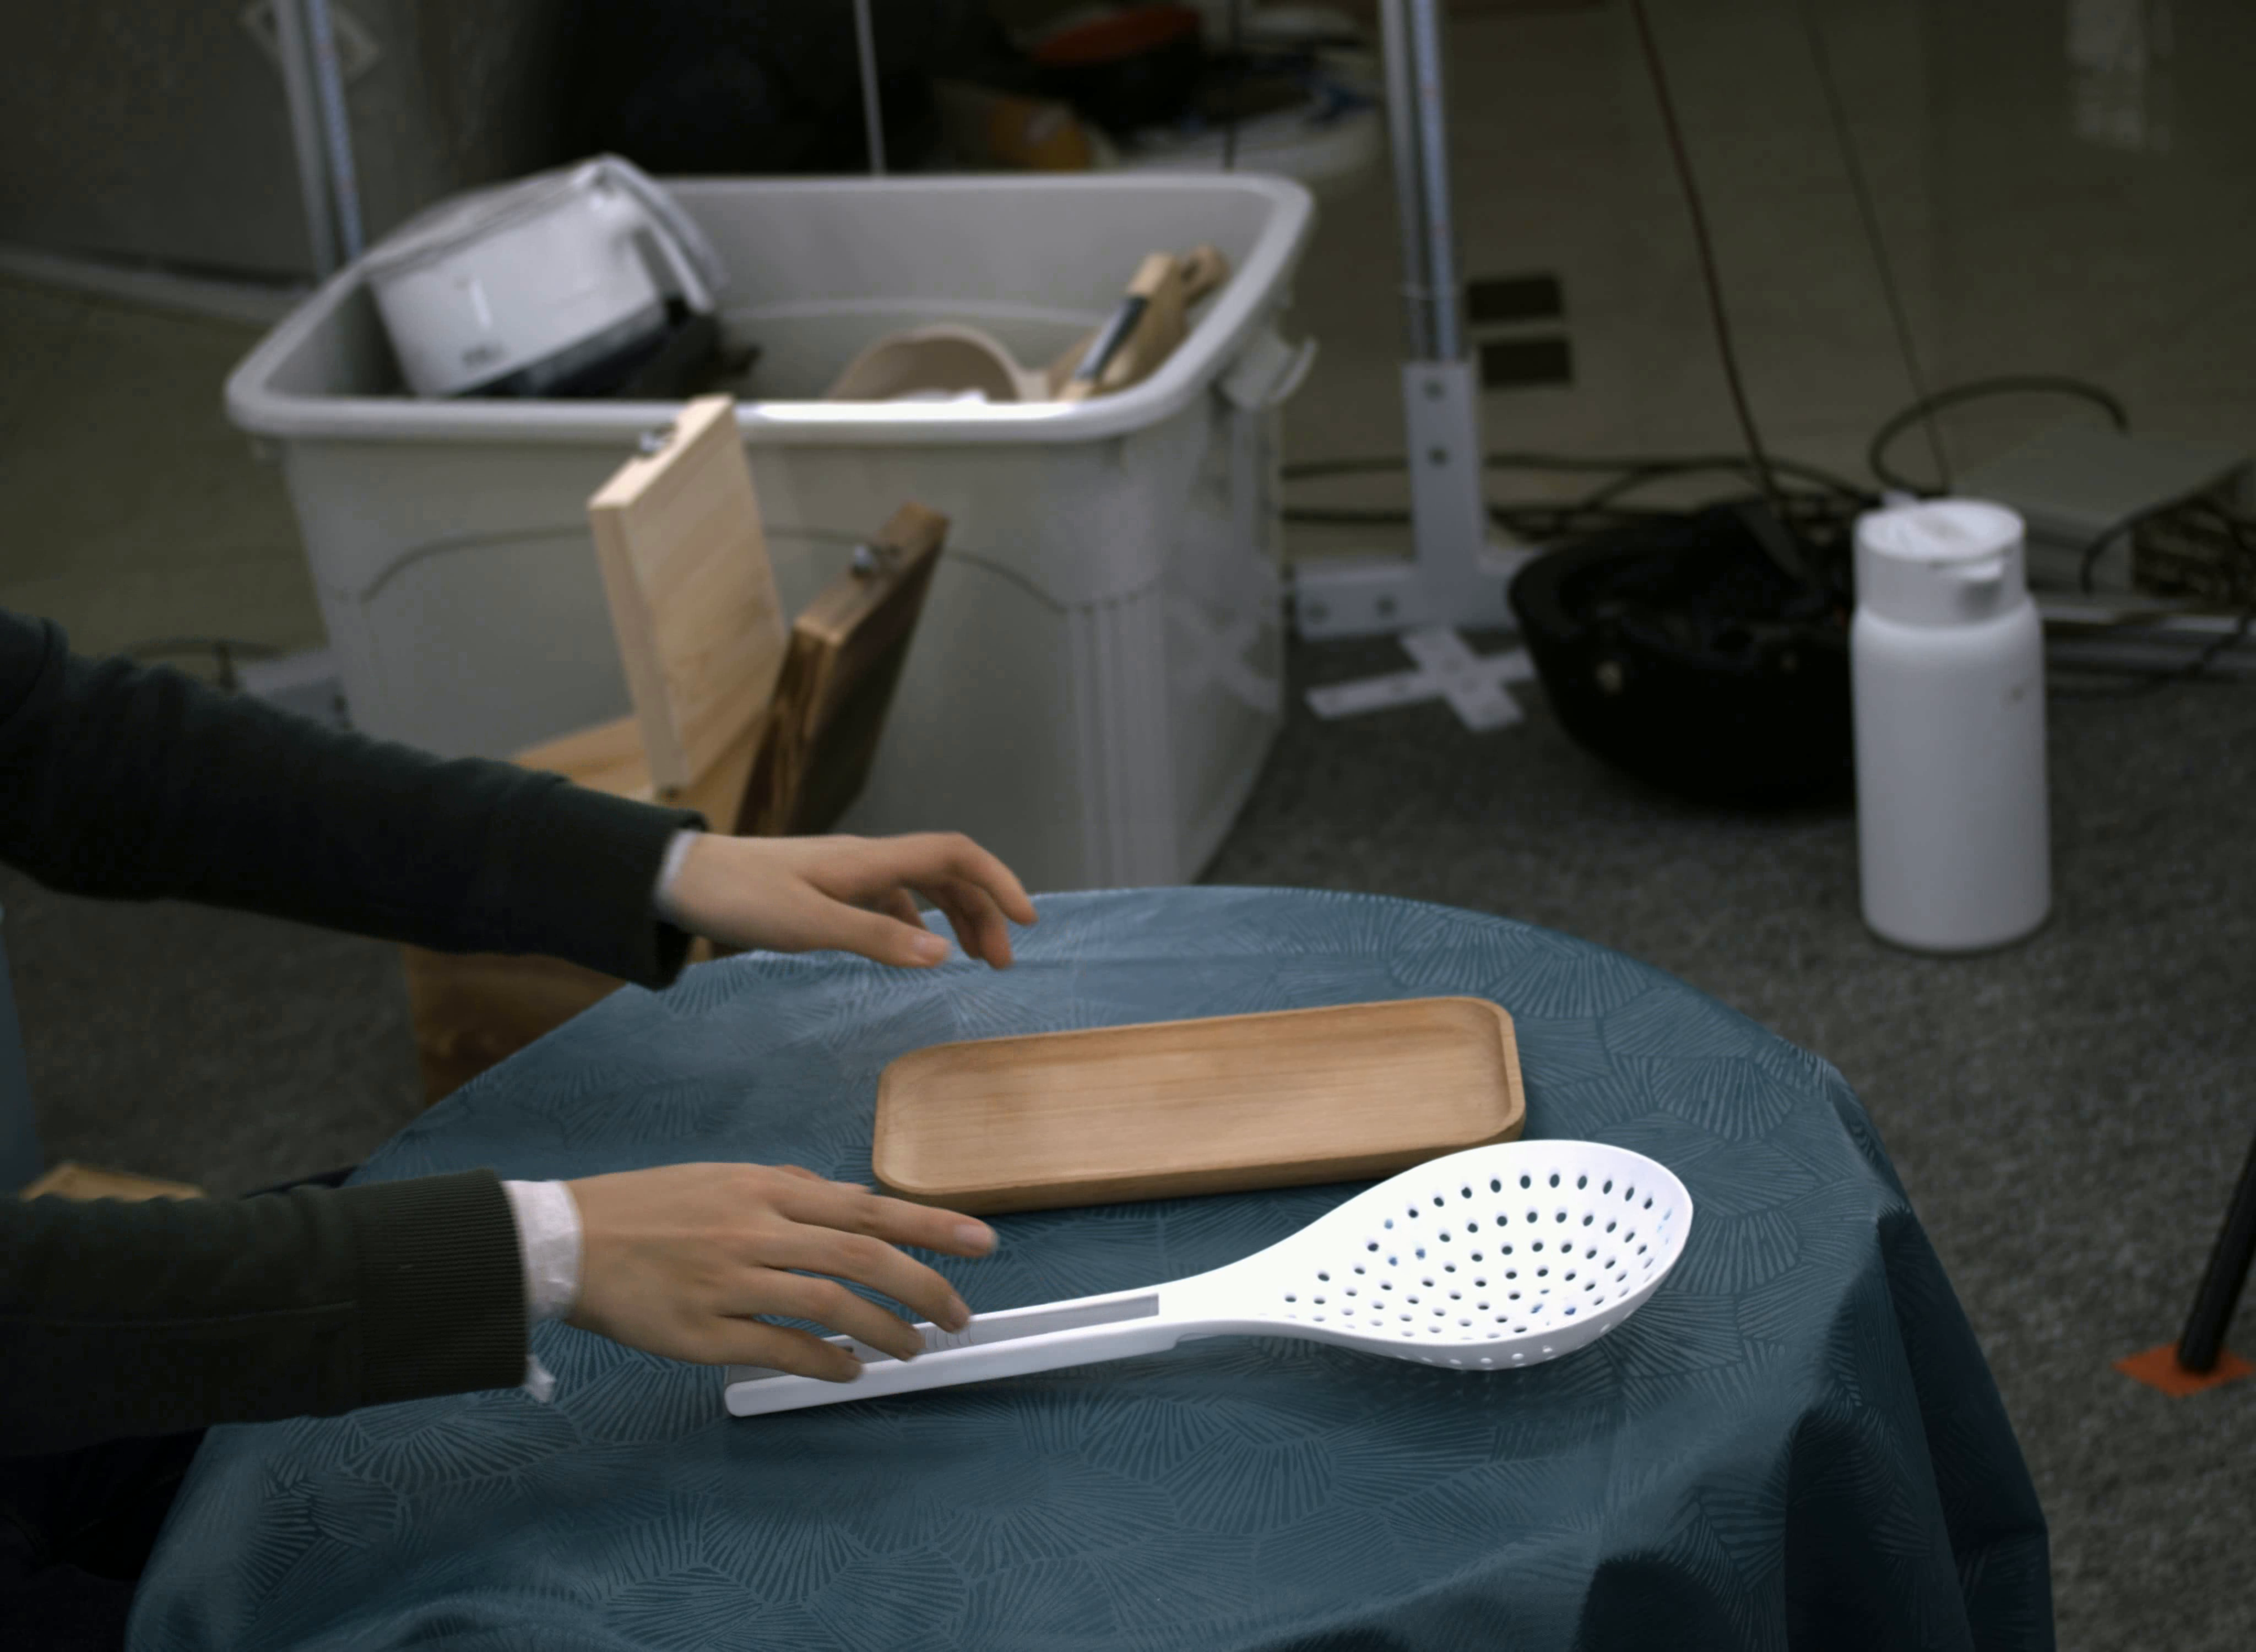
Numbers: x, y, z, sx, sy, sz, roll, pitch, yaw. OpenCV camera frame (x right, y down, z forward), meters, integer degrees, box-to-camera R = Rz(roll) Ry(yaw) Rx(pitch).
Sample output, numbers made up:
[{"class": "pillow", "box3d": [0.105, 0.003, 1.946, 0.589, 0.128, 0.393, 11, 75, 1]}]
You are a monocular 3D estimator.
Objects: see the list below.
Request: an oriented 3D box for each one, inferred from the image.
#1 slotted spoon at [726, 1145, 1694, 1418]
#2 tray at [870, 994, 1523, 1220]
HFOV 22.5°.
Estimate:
[{"class": "slotted spoon", "box3d": [0.028, 0.172, 2.021, 0.349, 0.046, 0.134, -6, 25, 3]}, {"class": "tray", "box3d": [0.026, 0.109, 2.191, 0.250, 0.023, 0.129, -6, 23, 3]}]
